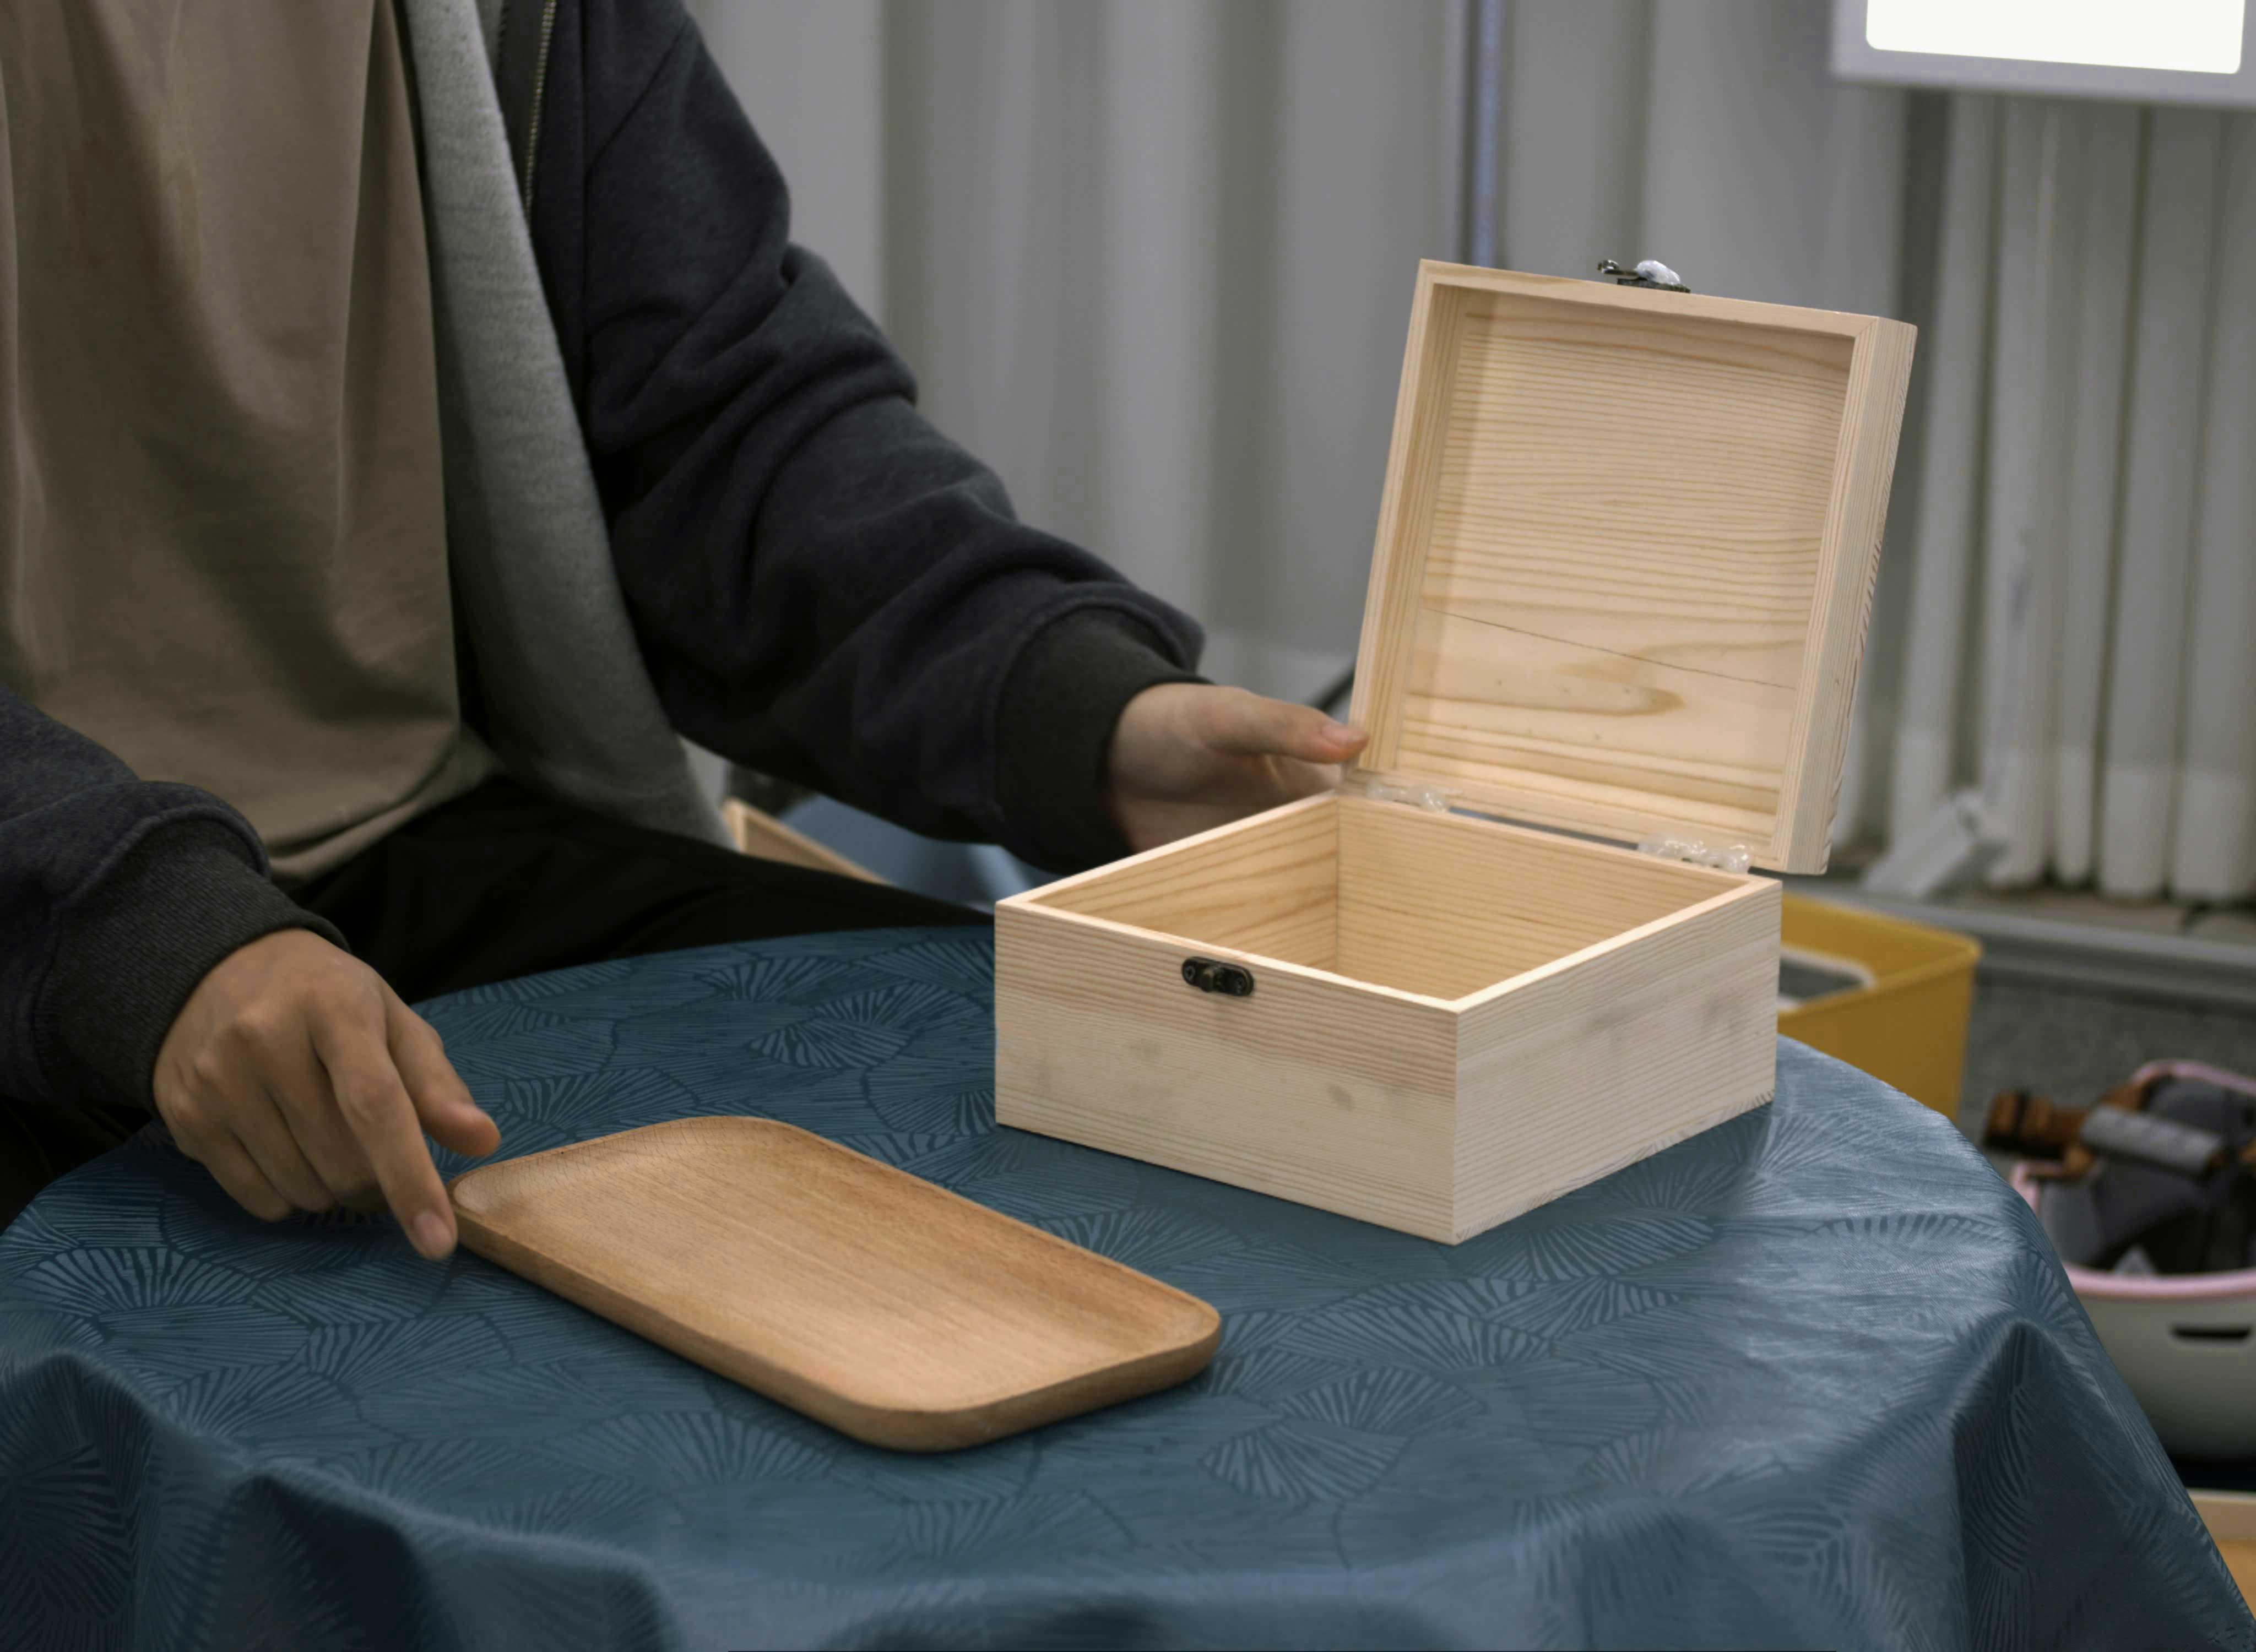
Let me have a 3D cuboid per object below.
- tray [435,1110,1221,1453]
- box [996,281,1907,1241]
[{"bbox_3d":[-0.091,0.129,1.526,0.131,0.023,0.247,-9,17,-39],"label":"tray"},{"bbox_3d":[0.104,-0.033,1.691,0.179,0.255,0.266,9,17,37],"label":"box"}]
